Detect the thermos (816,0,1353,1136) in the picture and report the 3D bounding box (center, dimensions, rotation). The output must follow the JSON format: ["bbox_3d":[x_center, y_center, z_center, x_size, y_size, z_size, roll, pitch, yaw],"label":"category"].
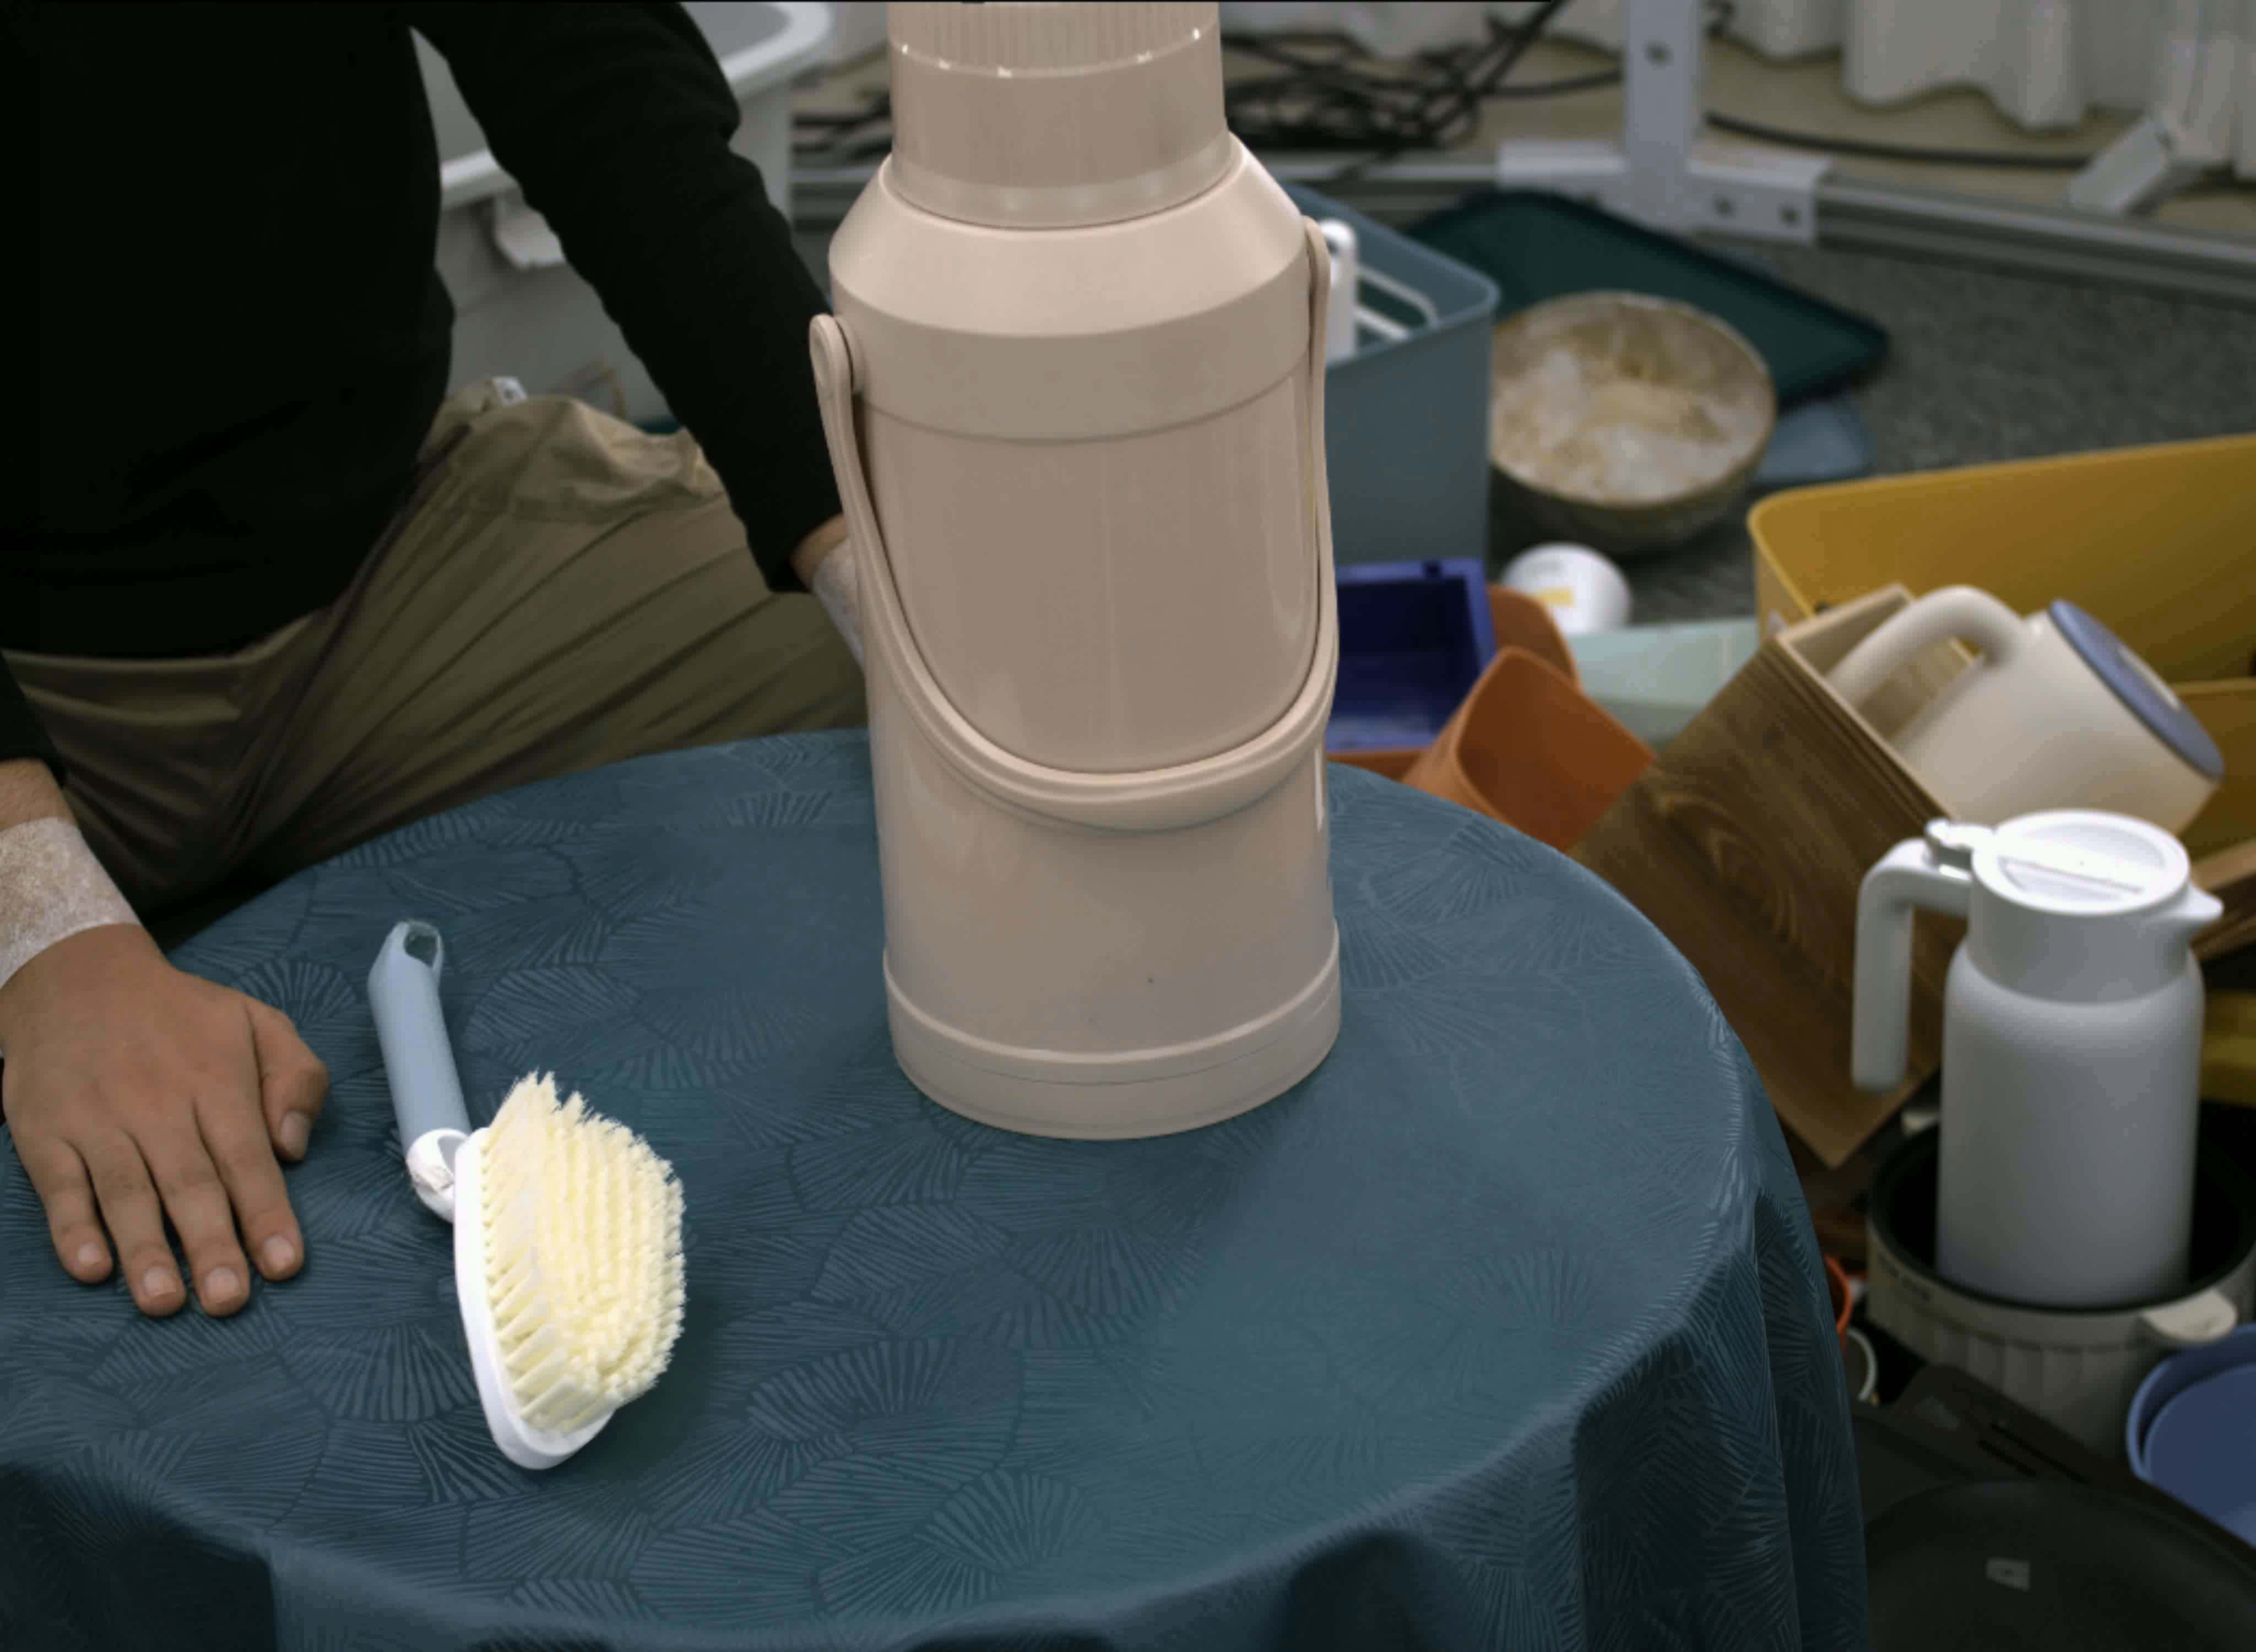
[{"bbox_3d":[-0.016,-0.113,1.889,0.176,0.402,0.208,-15,29,-19],"label":"thermos"}]

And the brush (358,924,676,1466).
[{"bbox_3d":[-0.203,0.093,1.850,0.084,0.082,0.329,-13,30,-8],"label":"brush"}]
